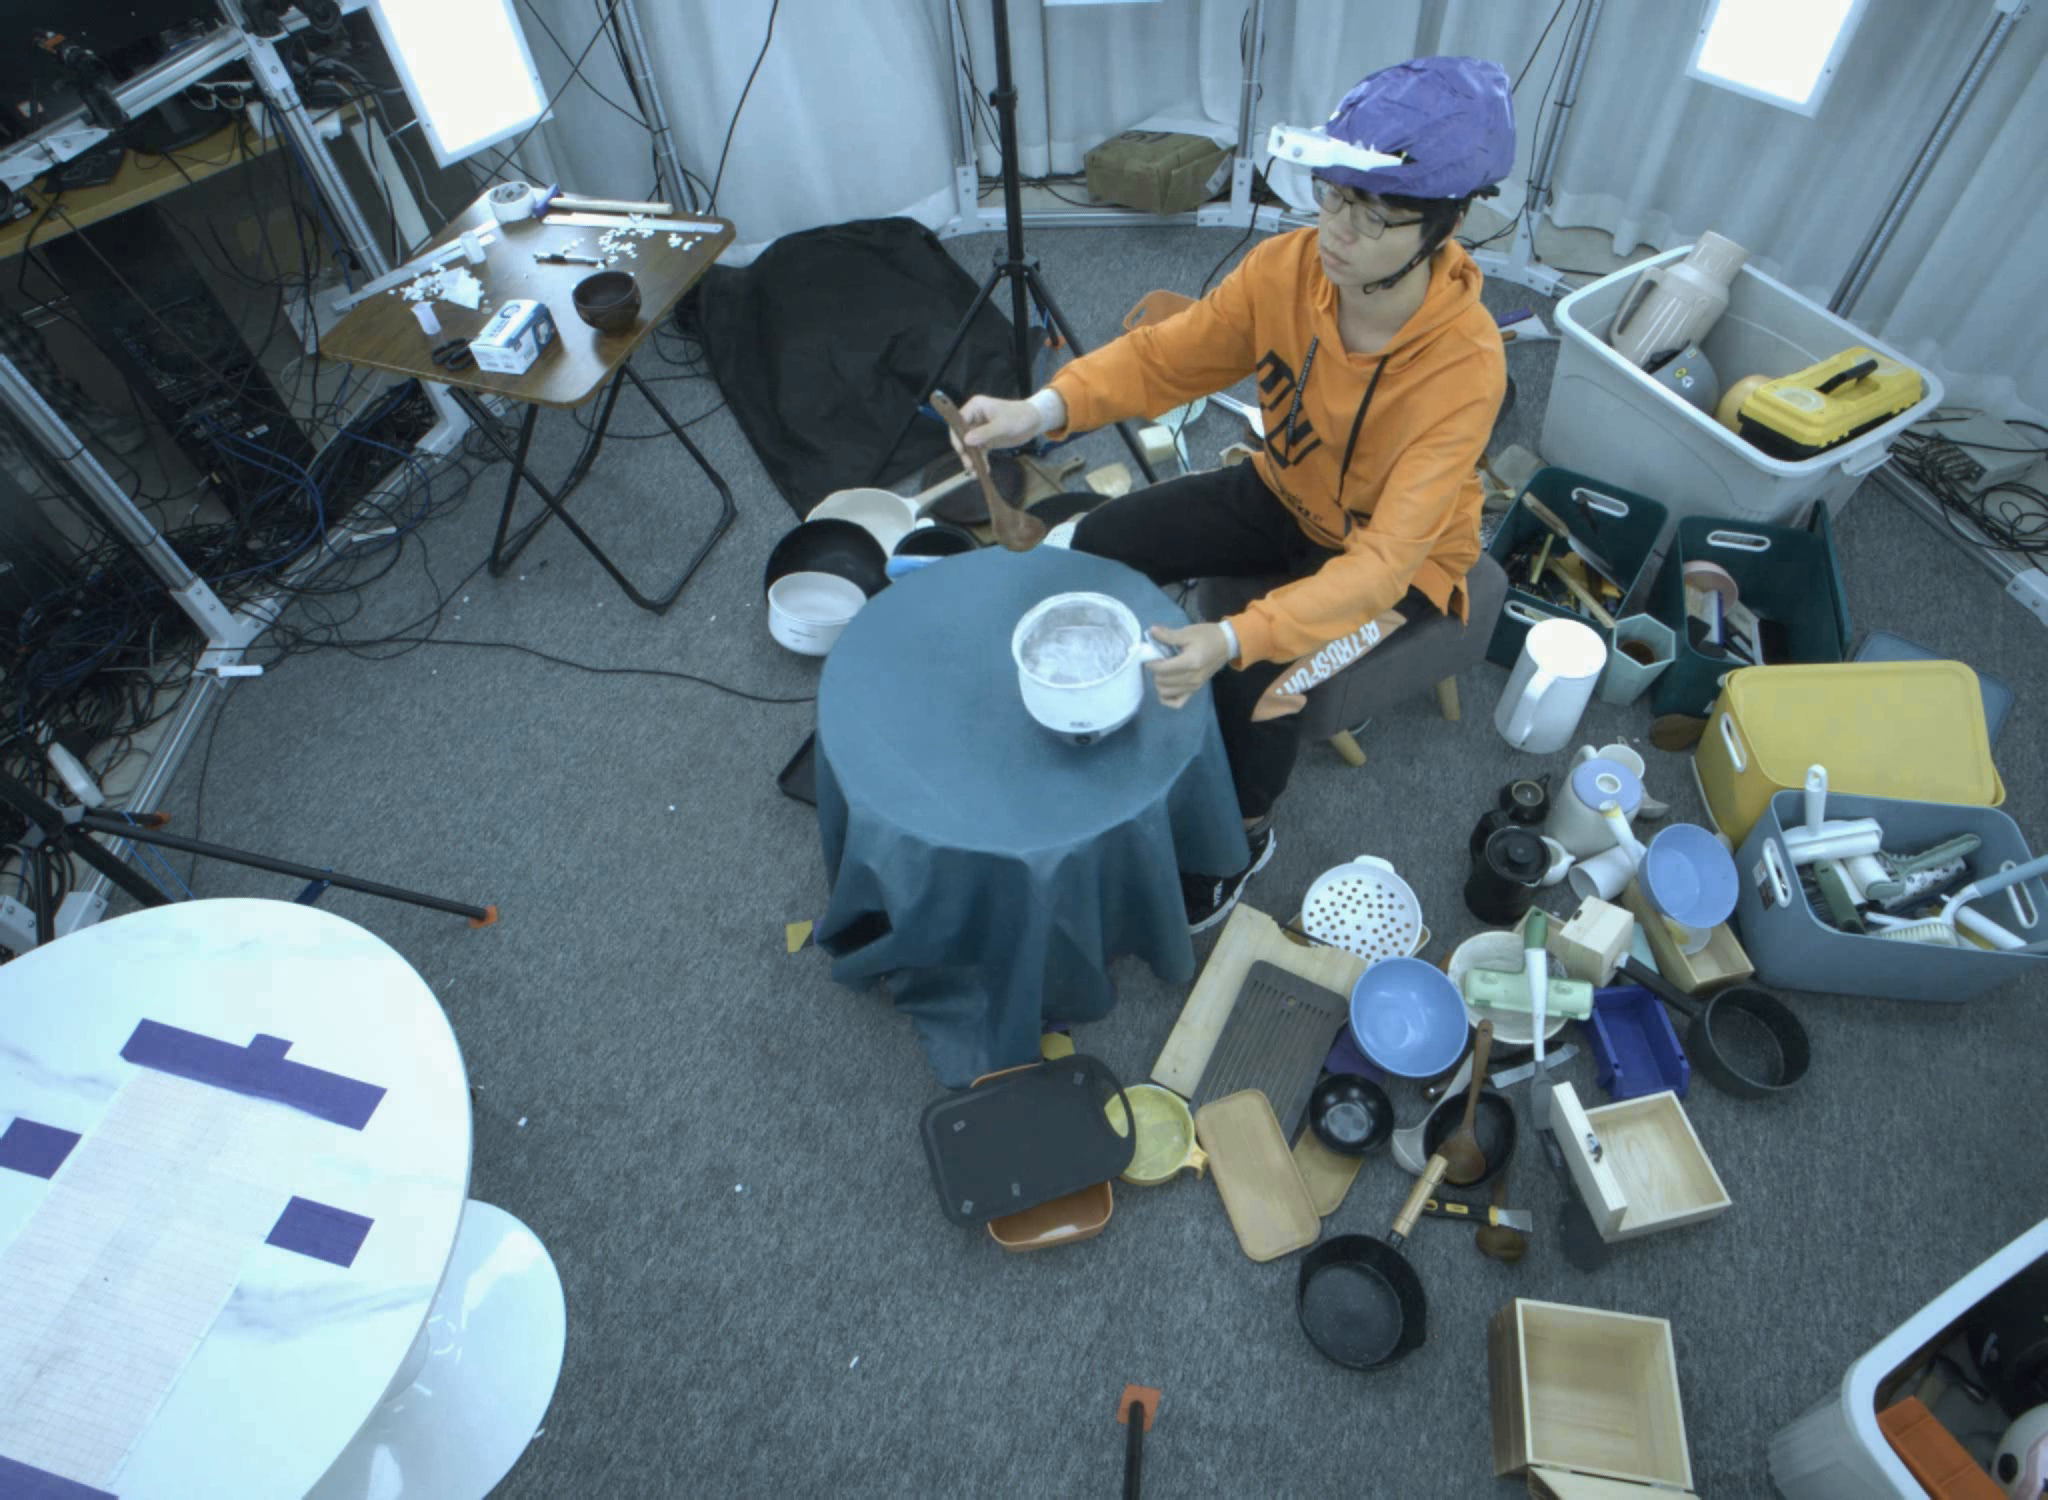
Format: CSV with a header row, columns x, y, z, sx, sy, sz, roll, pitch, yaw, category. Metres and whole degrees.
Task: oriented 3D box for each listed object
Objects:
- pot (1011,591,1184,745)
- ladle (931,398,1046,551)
x,y,z,sx,sy,sz,roll,pitch,yaw,category
0.105,-0.117,1.724,0.233,0.138,0.177,-4,55,6,pot
-0.054,-0.390,1.679,0.077,0.064,0.261,-33,99,-38,ladle
